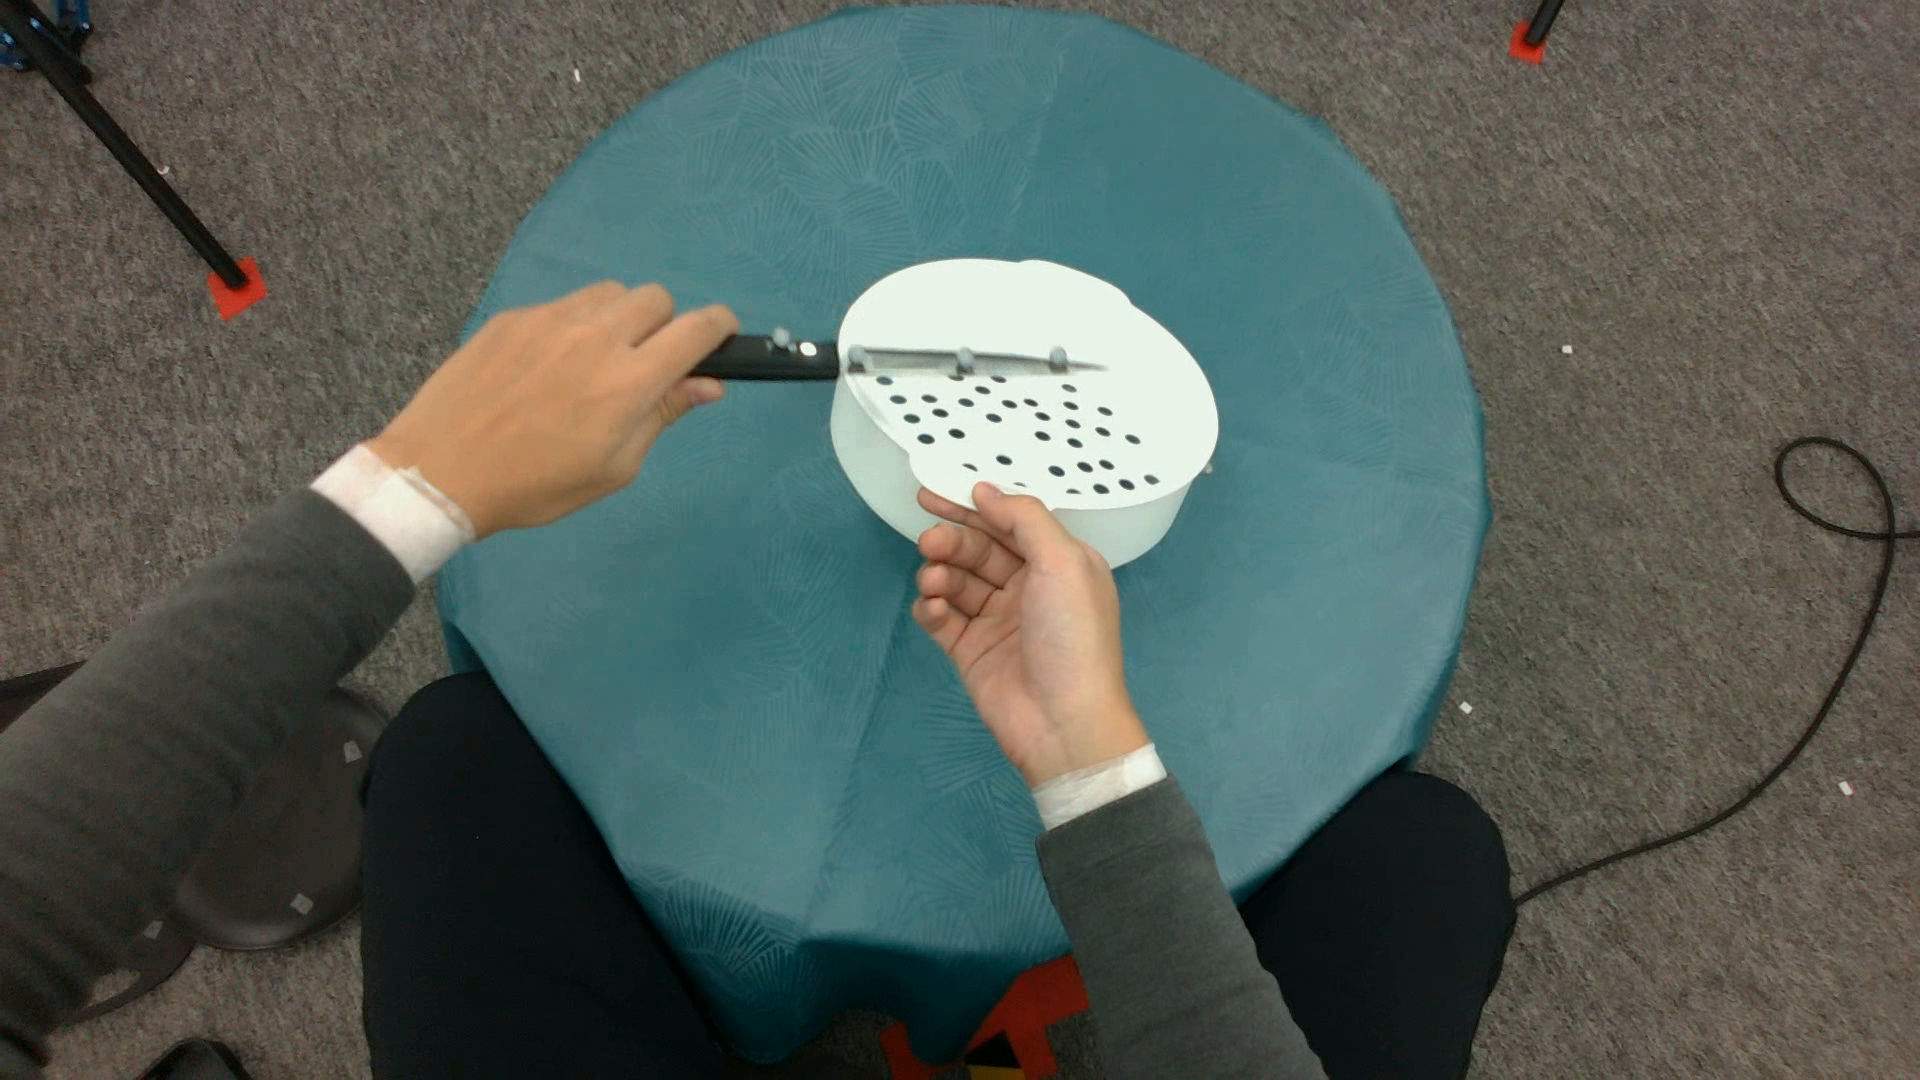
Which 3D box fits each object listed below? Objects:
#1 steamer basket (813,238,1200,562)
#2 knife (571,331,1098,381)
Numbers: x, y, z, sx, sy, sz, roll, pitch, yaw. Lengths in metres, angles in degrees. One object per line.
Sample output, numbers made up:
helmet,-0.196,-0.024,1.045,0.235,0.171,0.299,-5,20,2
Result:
steamer basket,0.021,-0.076,0.729,0.202,0.069,0.232,21,43,3
knife,-0.053,-0.081,0.619,0.238,0.016,0.024,0,41,-9
